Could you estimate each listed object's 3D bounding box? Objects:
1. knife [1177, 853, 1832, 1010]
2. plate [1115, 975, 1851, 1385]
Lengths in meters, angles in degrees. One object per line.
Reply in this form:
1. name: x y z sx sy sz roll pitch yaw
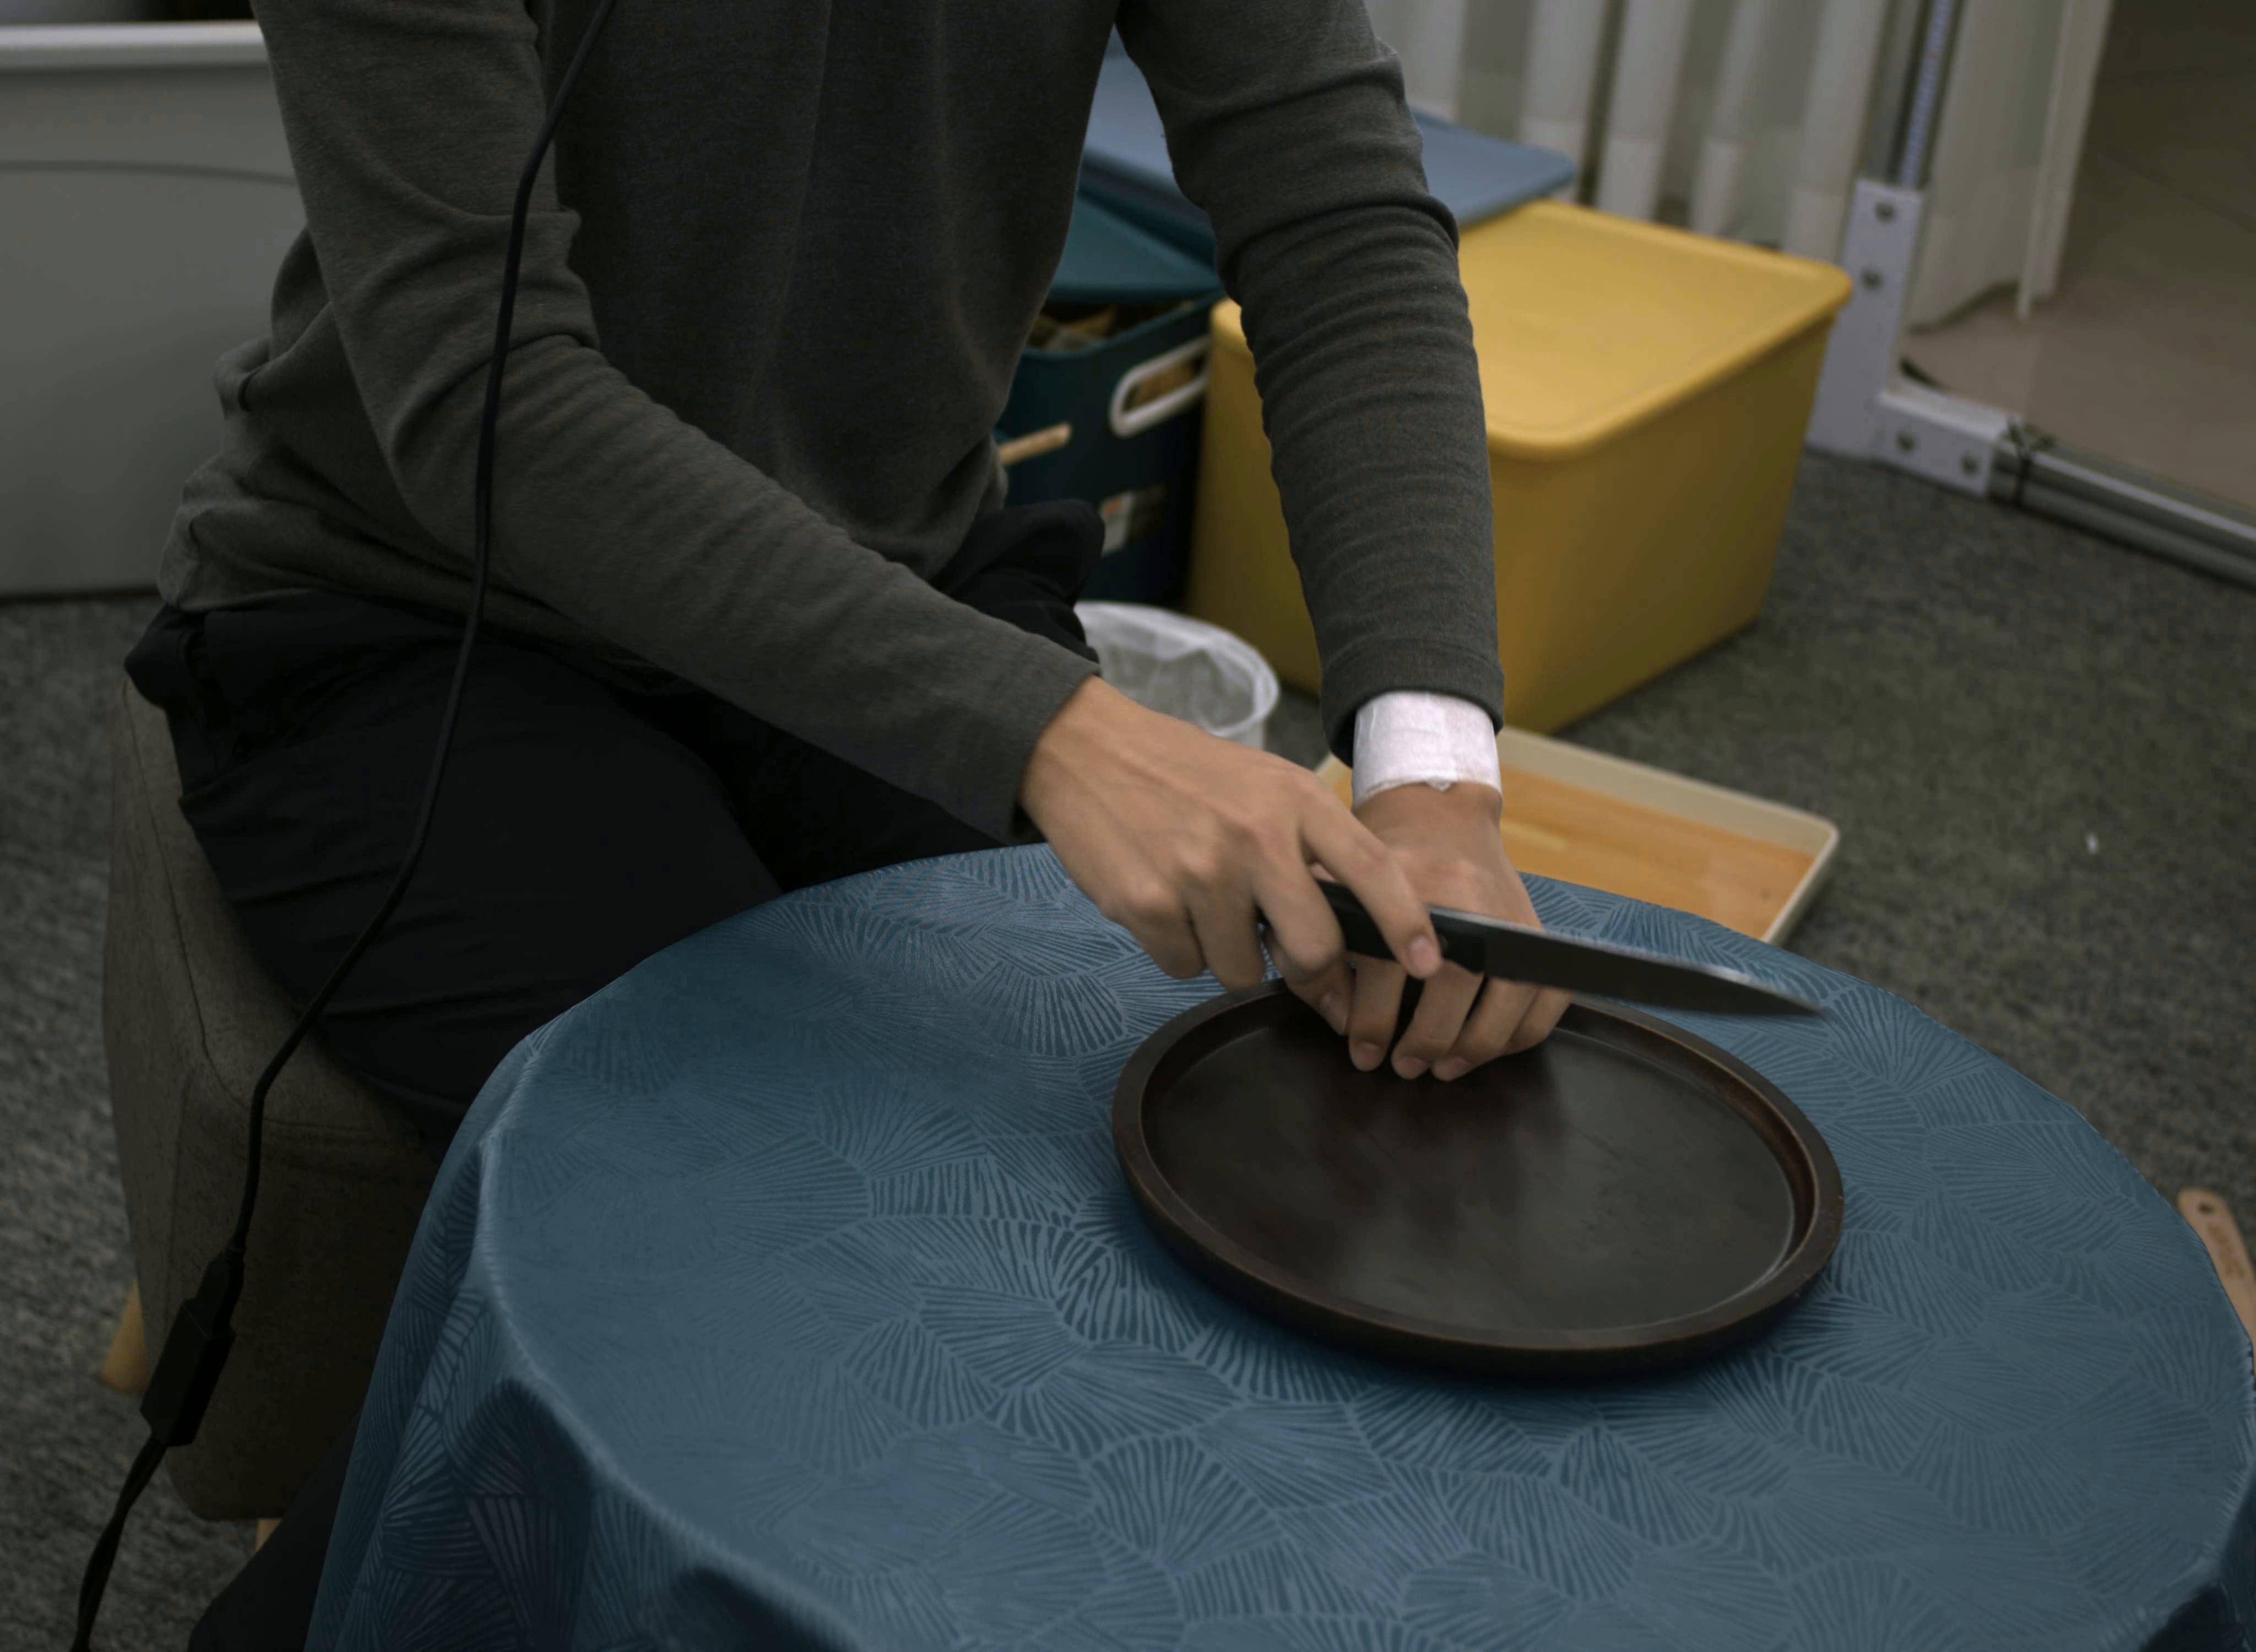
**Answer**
1. knife: 0.124 0.036 1.794 0.239 0.024 0.016 11 28 25
2. plate: 0.120 0.118 1.818 0.254 0.029 0.256 6 27 -3
